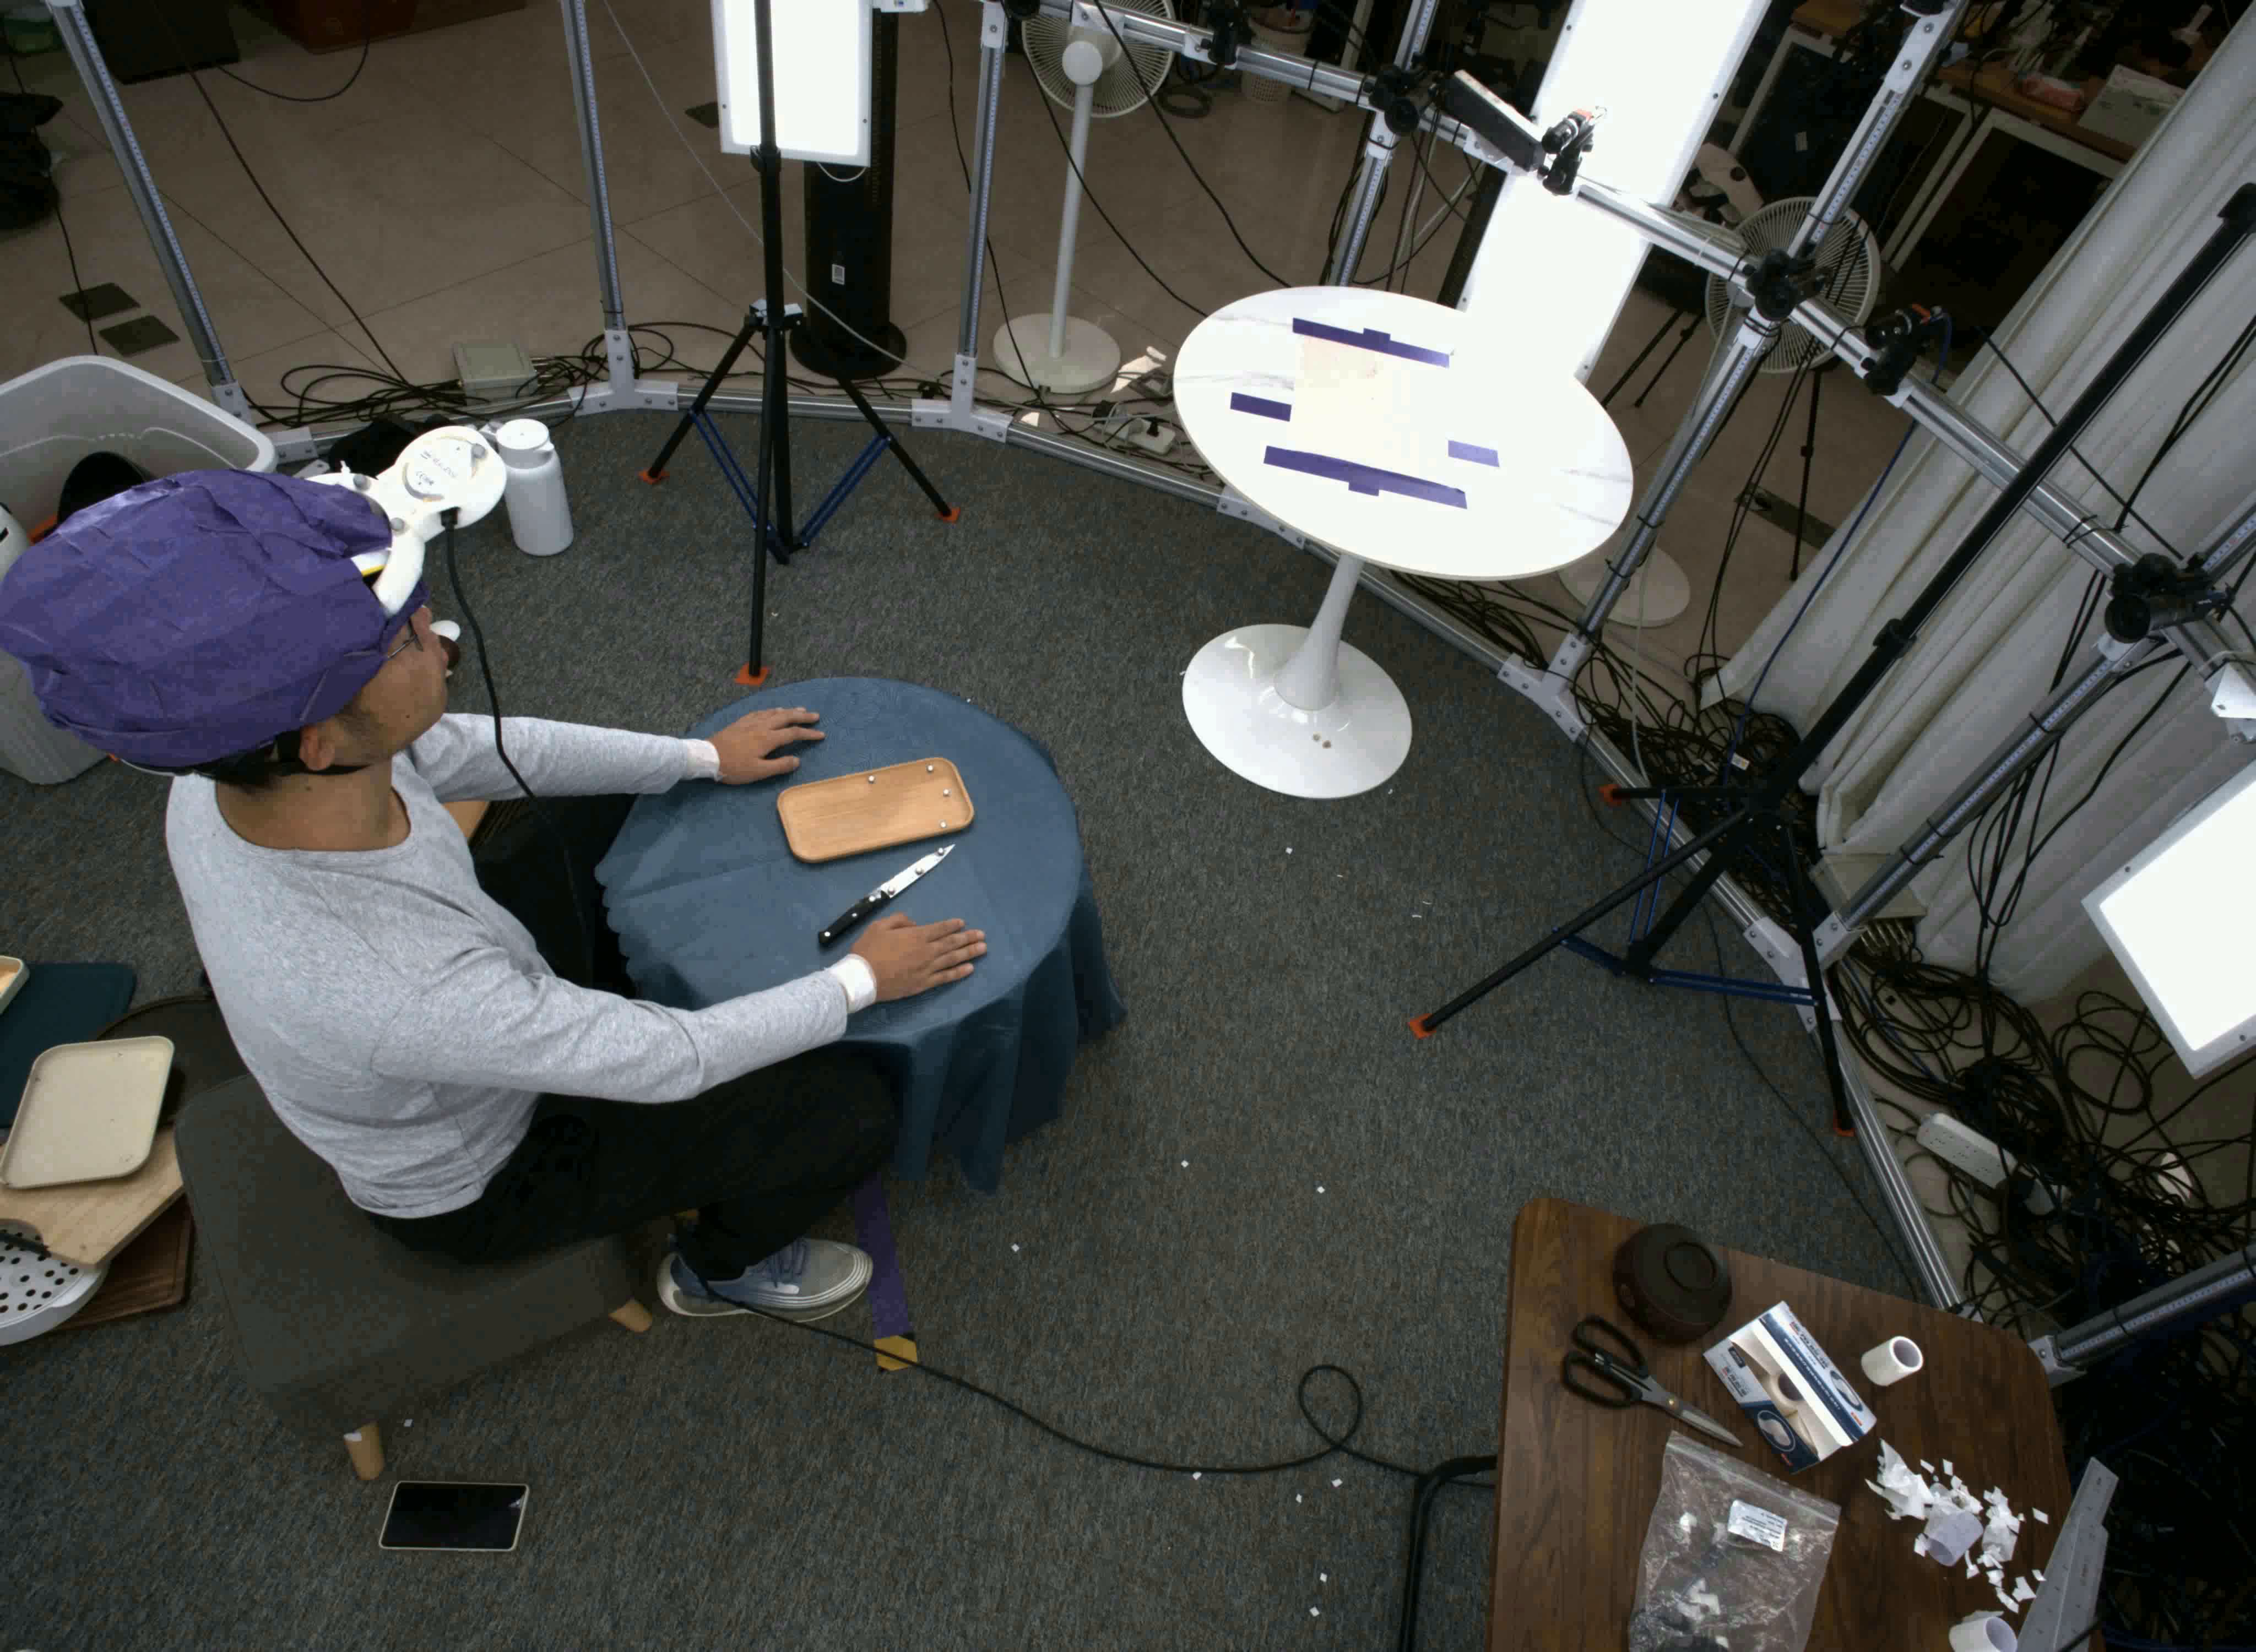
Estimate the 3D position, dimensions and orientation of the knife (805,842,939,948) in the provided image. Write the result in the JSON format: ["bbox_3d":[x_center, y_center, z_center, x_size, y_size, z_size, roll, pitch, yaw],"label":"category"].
[{"bbox_3d":[-0.326,0.085,1.690,0.024,0.016,0.238,37,51,15],"label":"knife"}]

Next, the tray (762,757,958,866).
[{"bbox_3d":[-0.361,-0.021,1.756,0.252,0.023,0.127,-14,56,-22],"label":"tray"}]
